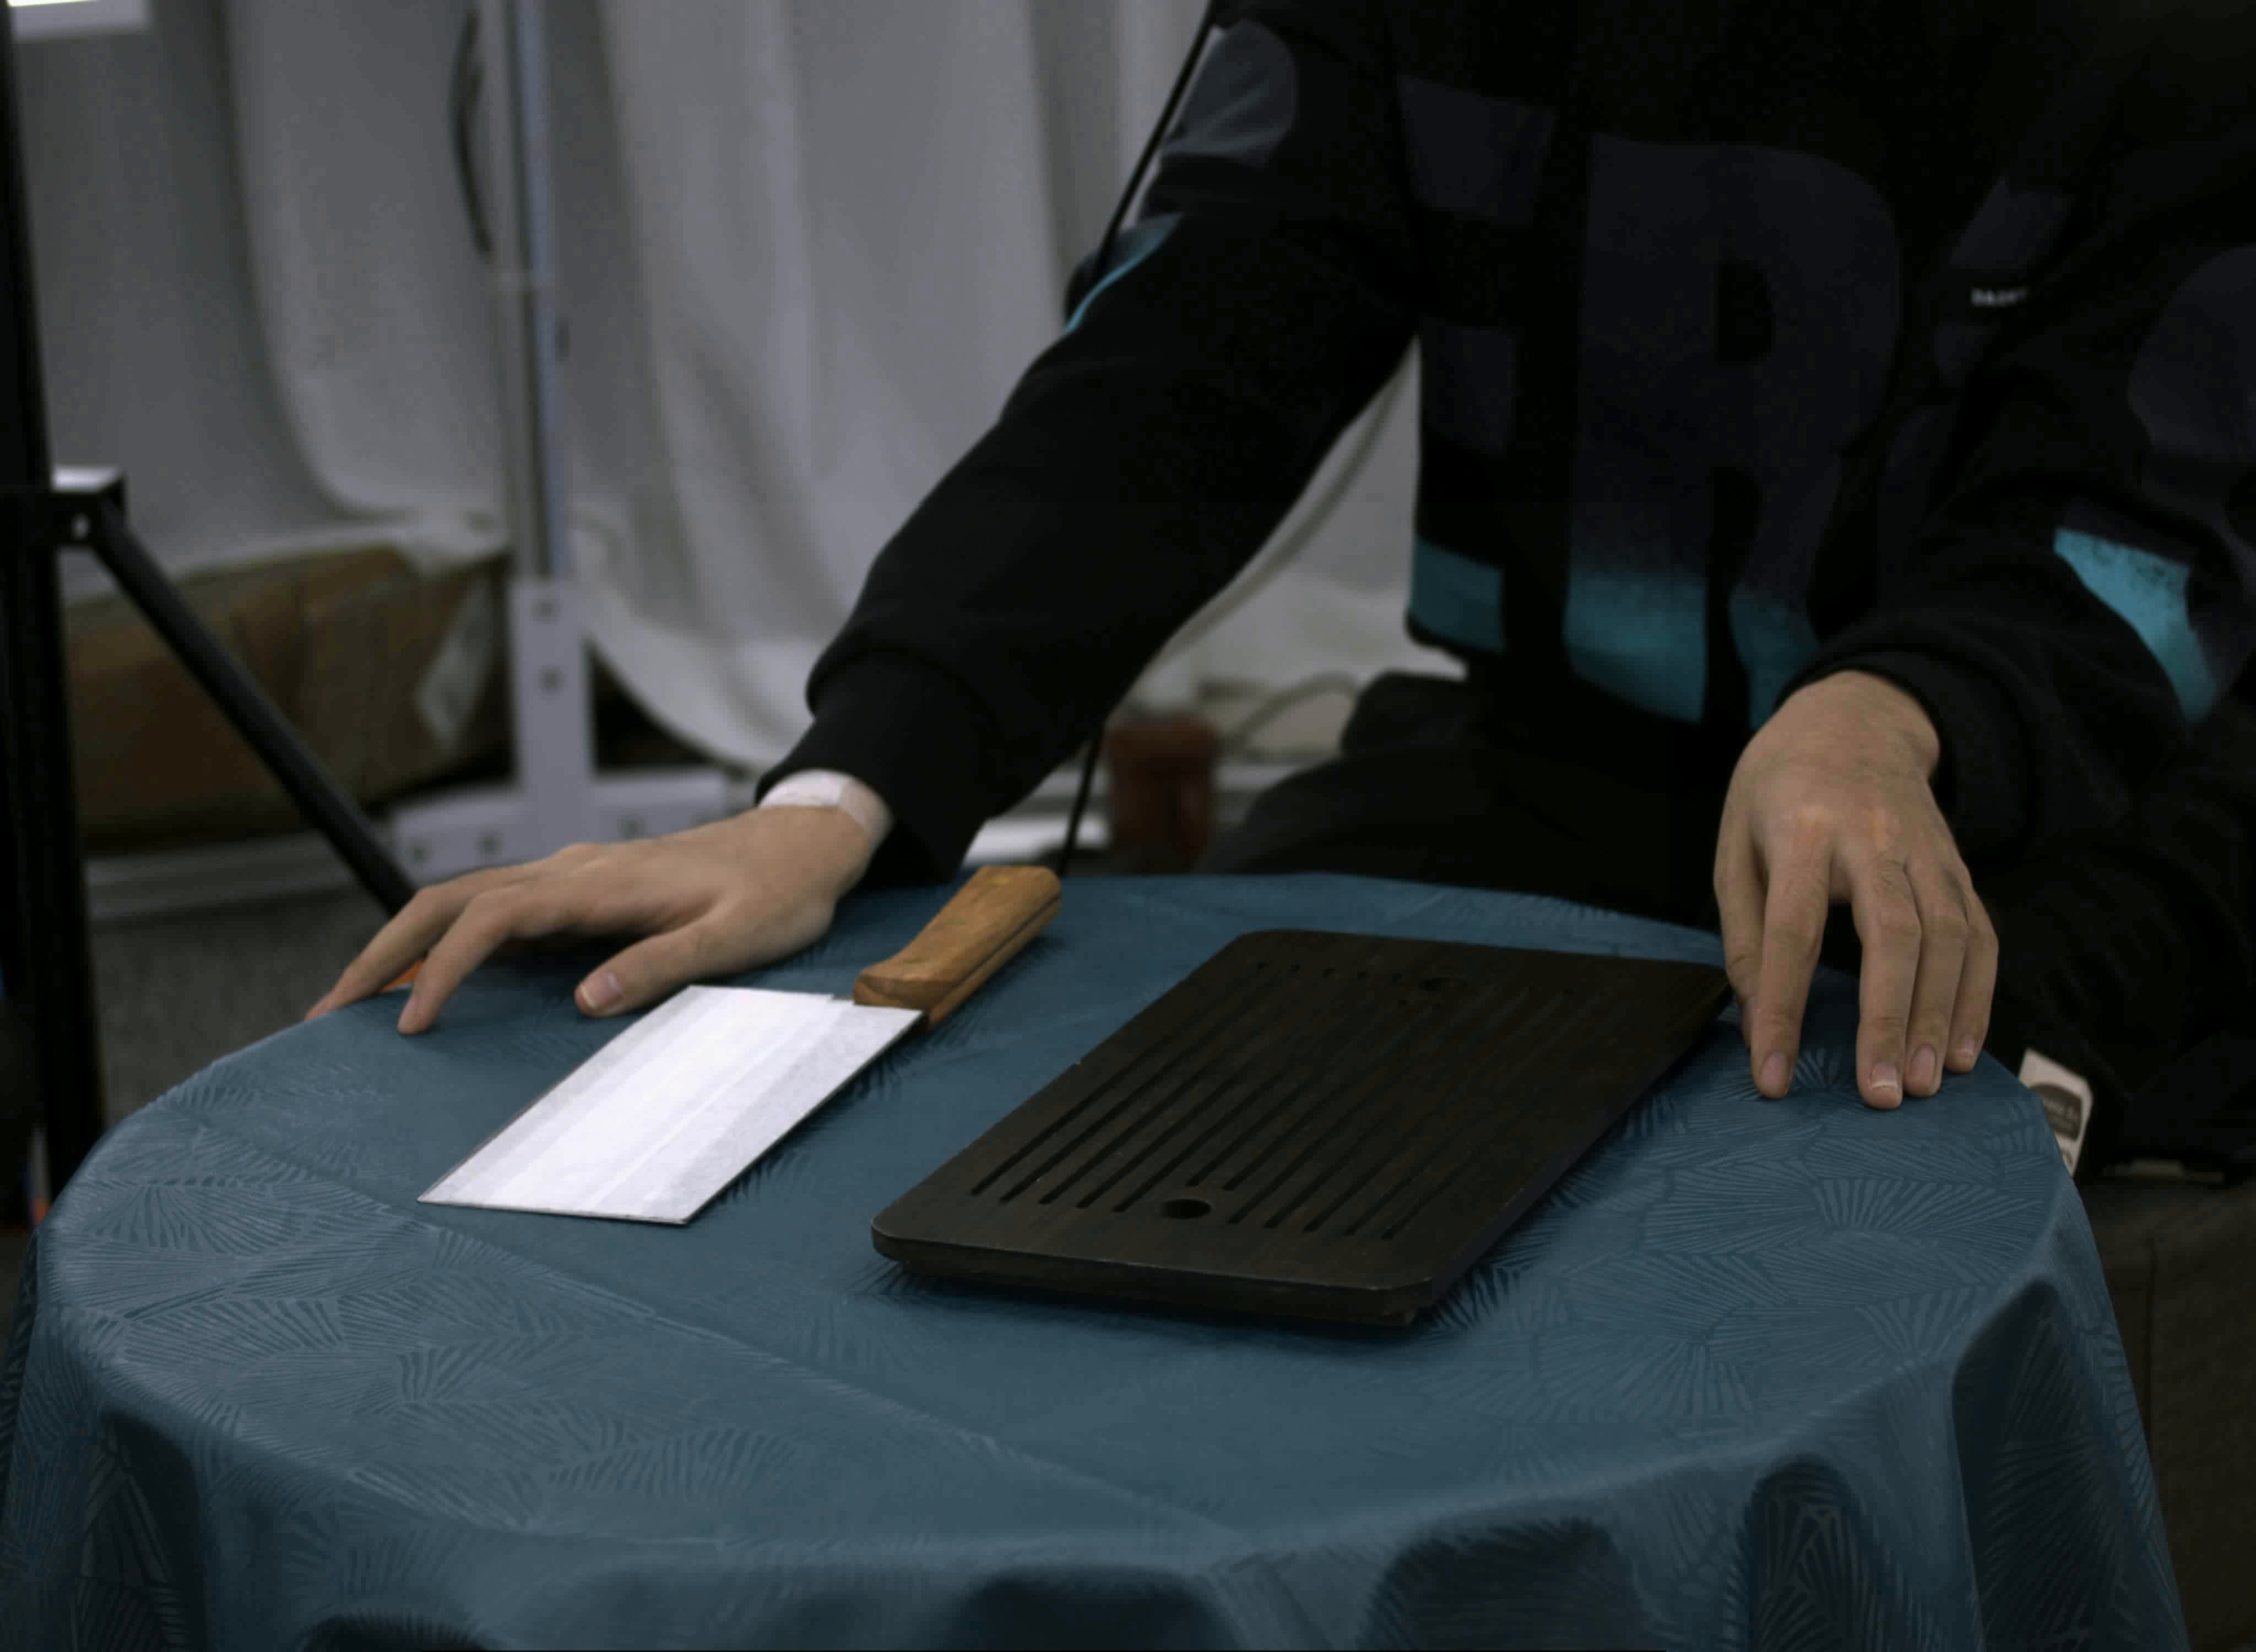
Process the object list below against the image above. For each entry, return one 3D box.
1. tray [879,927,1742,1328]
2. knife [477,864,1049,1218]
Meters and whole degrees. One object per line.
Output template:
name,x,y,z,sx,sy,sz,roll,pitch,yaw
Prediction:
tray,0.063,0.087,1.588,0.172,0.018,0.301,4,17,24
knife,-0.114,0.067,1.696,0.094,0.021,0.302,2,19,22
